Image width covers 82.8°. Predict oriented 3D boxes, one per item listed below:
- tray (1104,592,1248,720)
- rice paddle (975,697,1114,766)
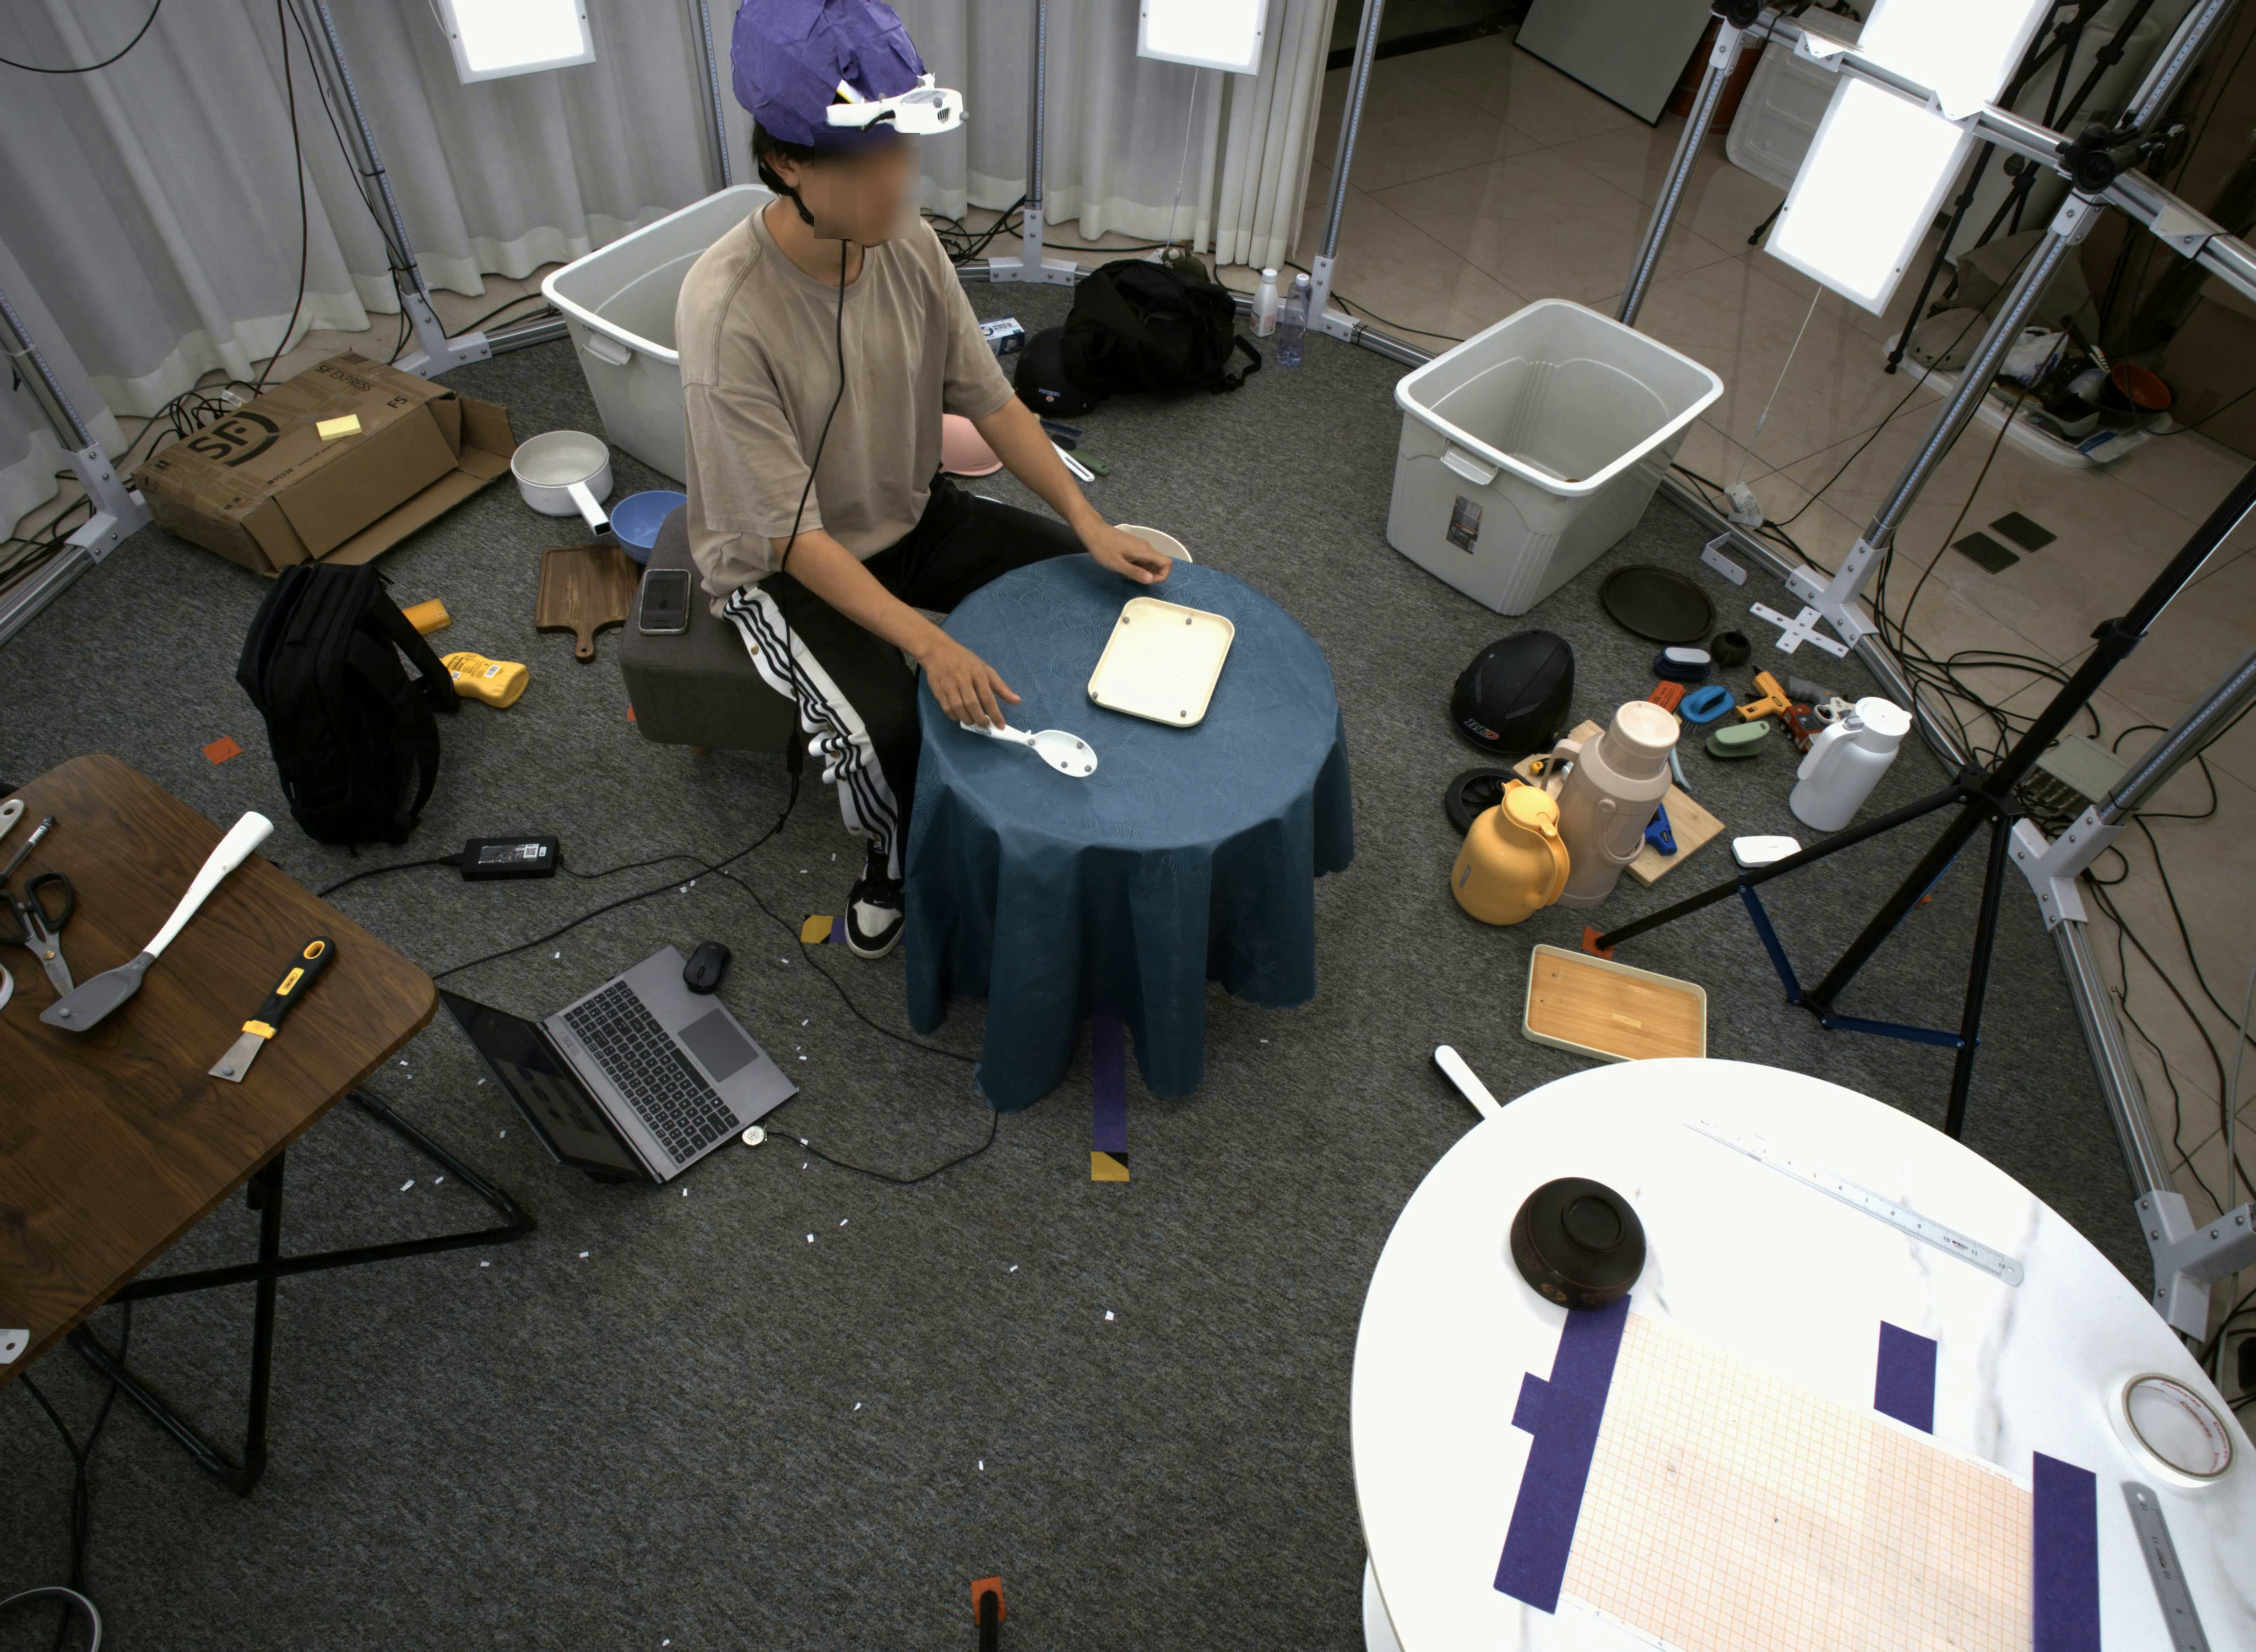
[{"bbox_3d":[0.071,-0.248,1.864,0.172,0.017,0.245,16,49,8],"label":"tray"},{"bbox_3d":[-0.110,-0.128,1.713,0.207,0.067,0.030,20,42,21],"label":"rice paddle"}]
